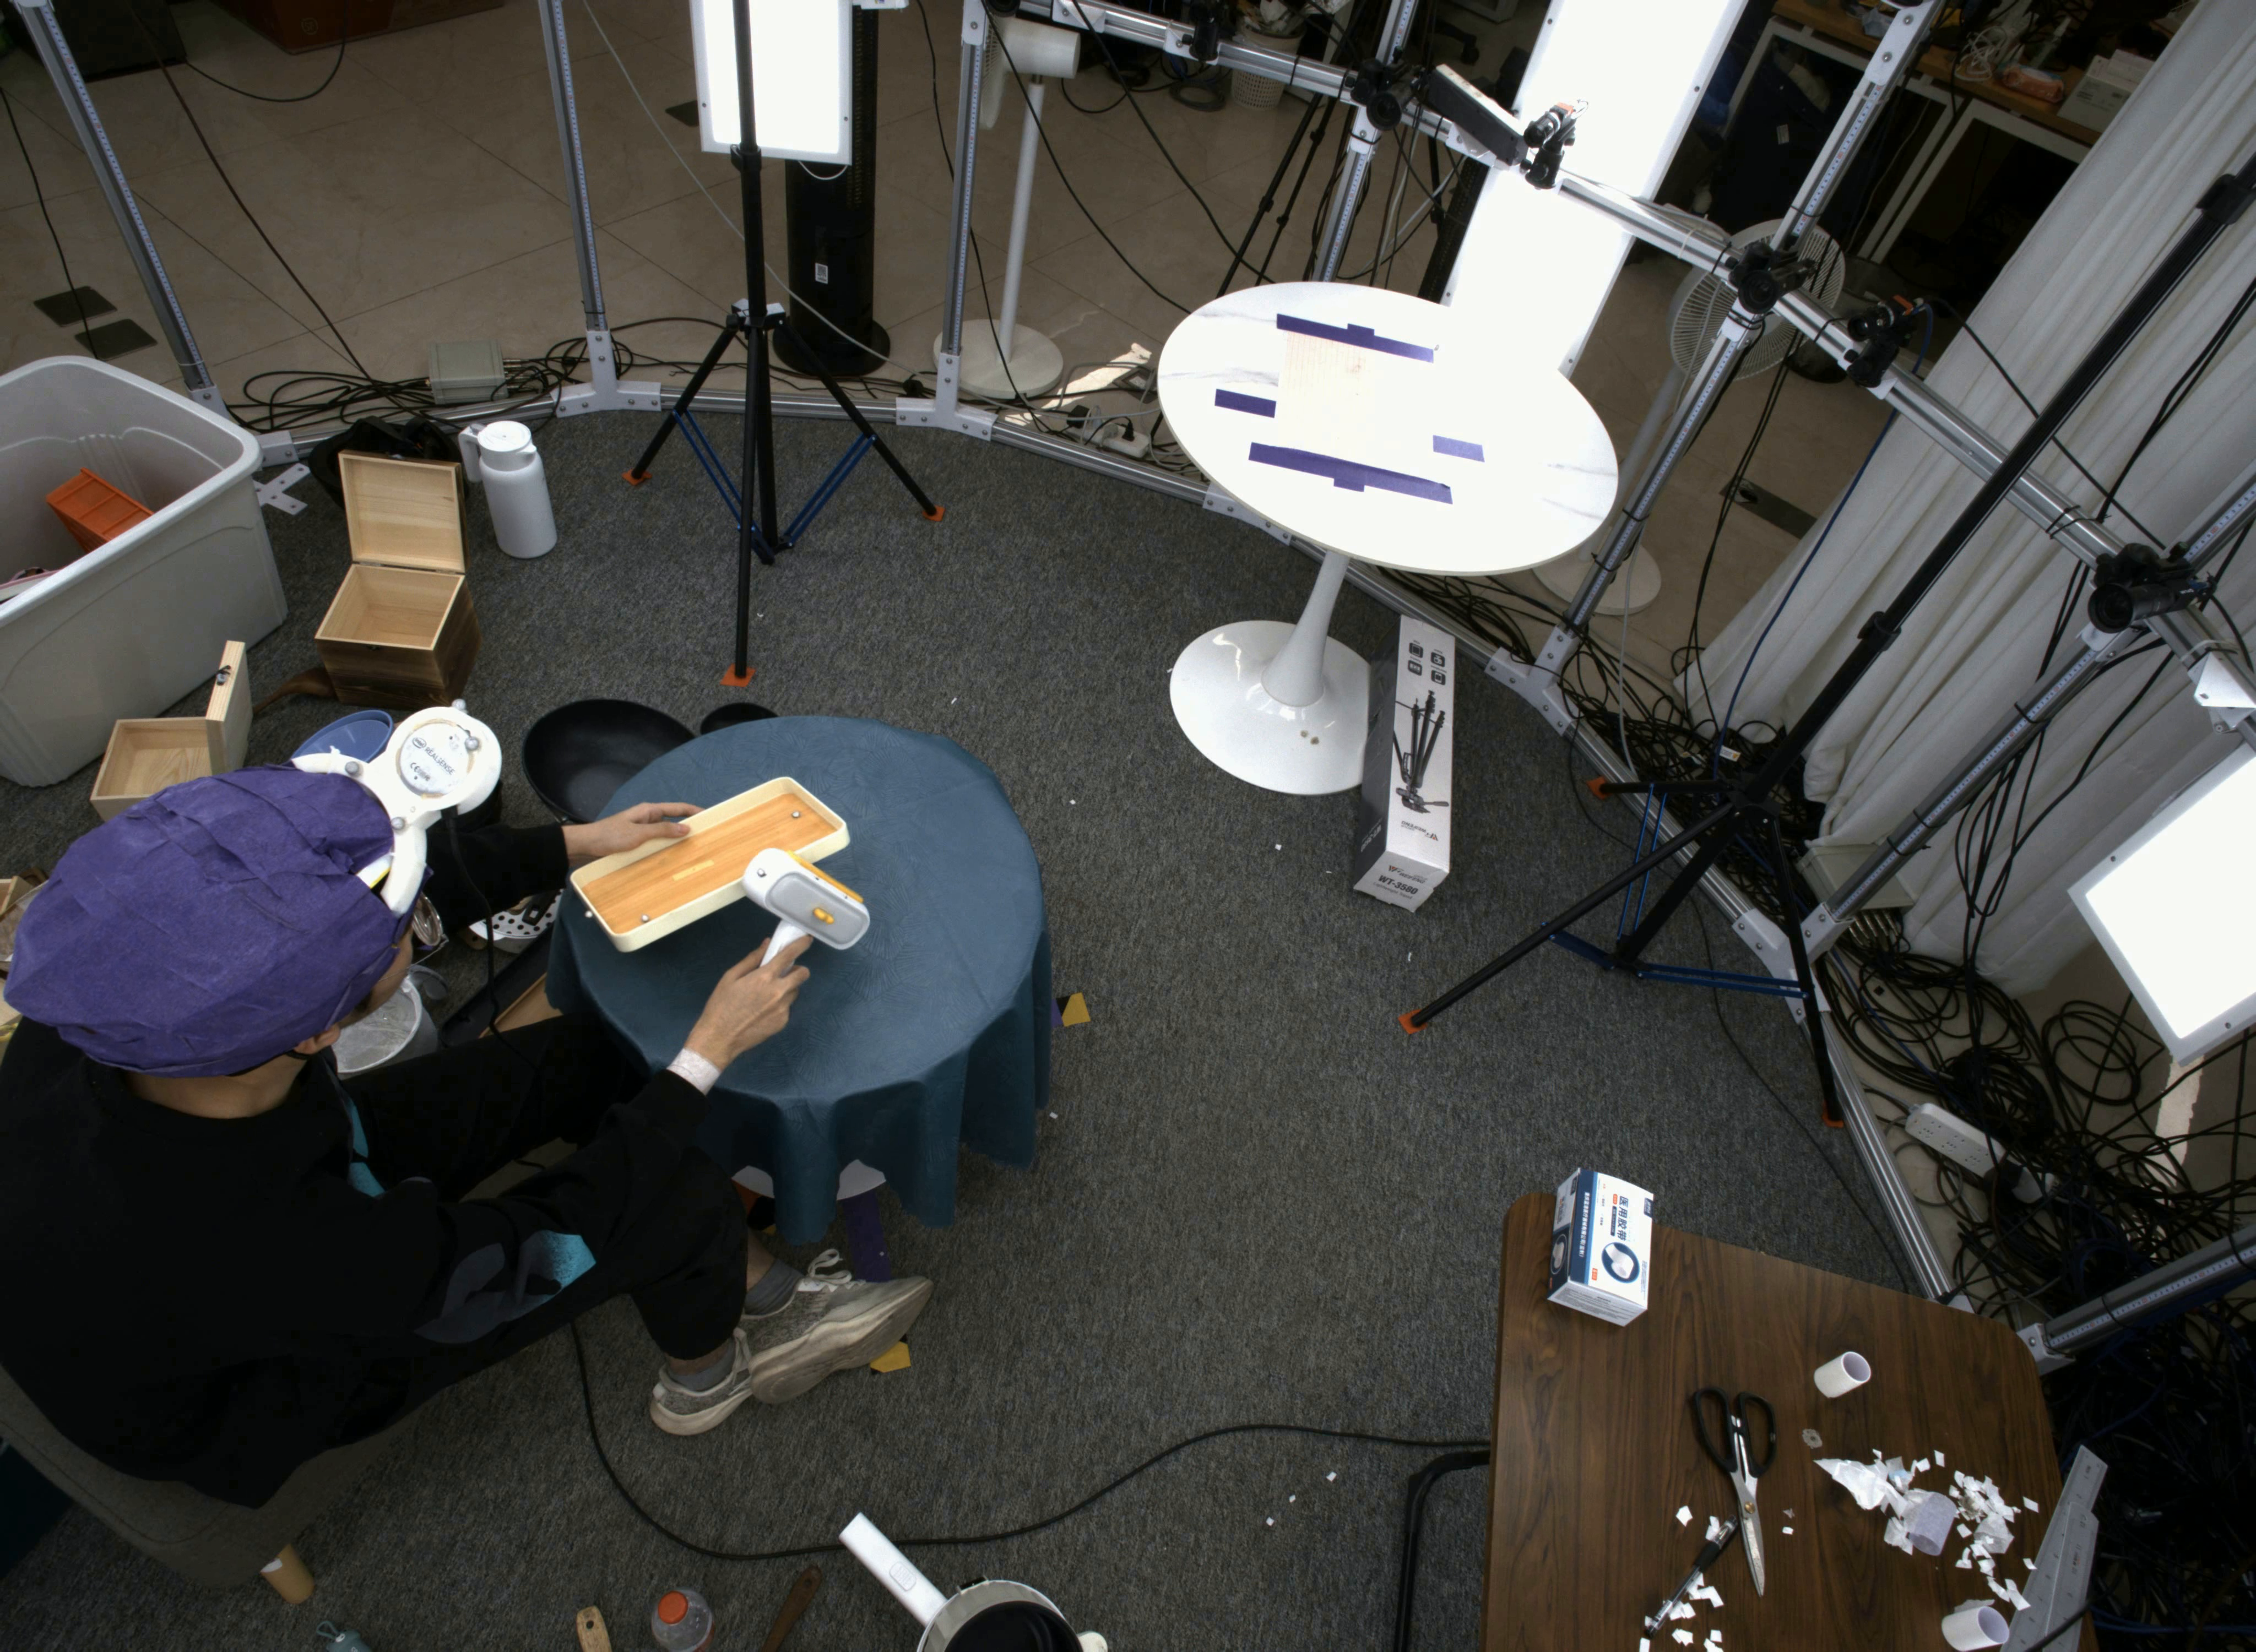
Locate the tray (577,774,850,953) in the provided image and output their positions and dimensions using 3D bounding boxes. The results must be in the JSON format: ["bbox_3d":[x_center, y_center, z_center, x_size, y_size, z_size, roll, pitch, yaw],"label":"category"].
[{"bbox_3d":[-0.502,0.037,1.551,0.301,0.028,0.184,-28,39,-27],"label":"tray"}]

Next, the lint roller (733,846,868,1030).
[{"bbox_3d":[-0.398,0.136,1.499,0.071,0.199,0.193,26,84,29],"label":"lint roller"}]
